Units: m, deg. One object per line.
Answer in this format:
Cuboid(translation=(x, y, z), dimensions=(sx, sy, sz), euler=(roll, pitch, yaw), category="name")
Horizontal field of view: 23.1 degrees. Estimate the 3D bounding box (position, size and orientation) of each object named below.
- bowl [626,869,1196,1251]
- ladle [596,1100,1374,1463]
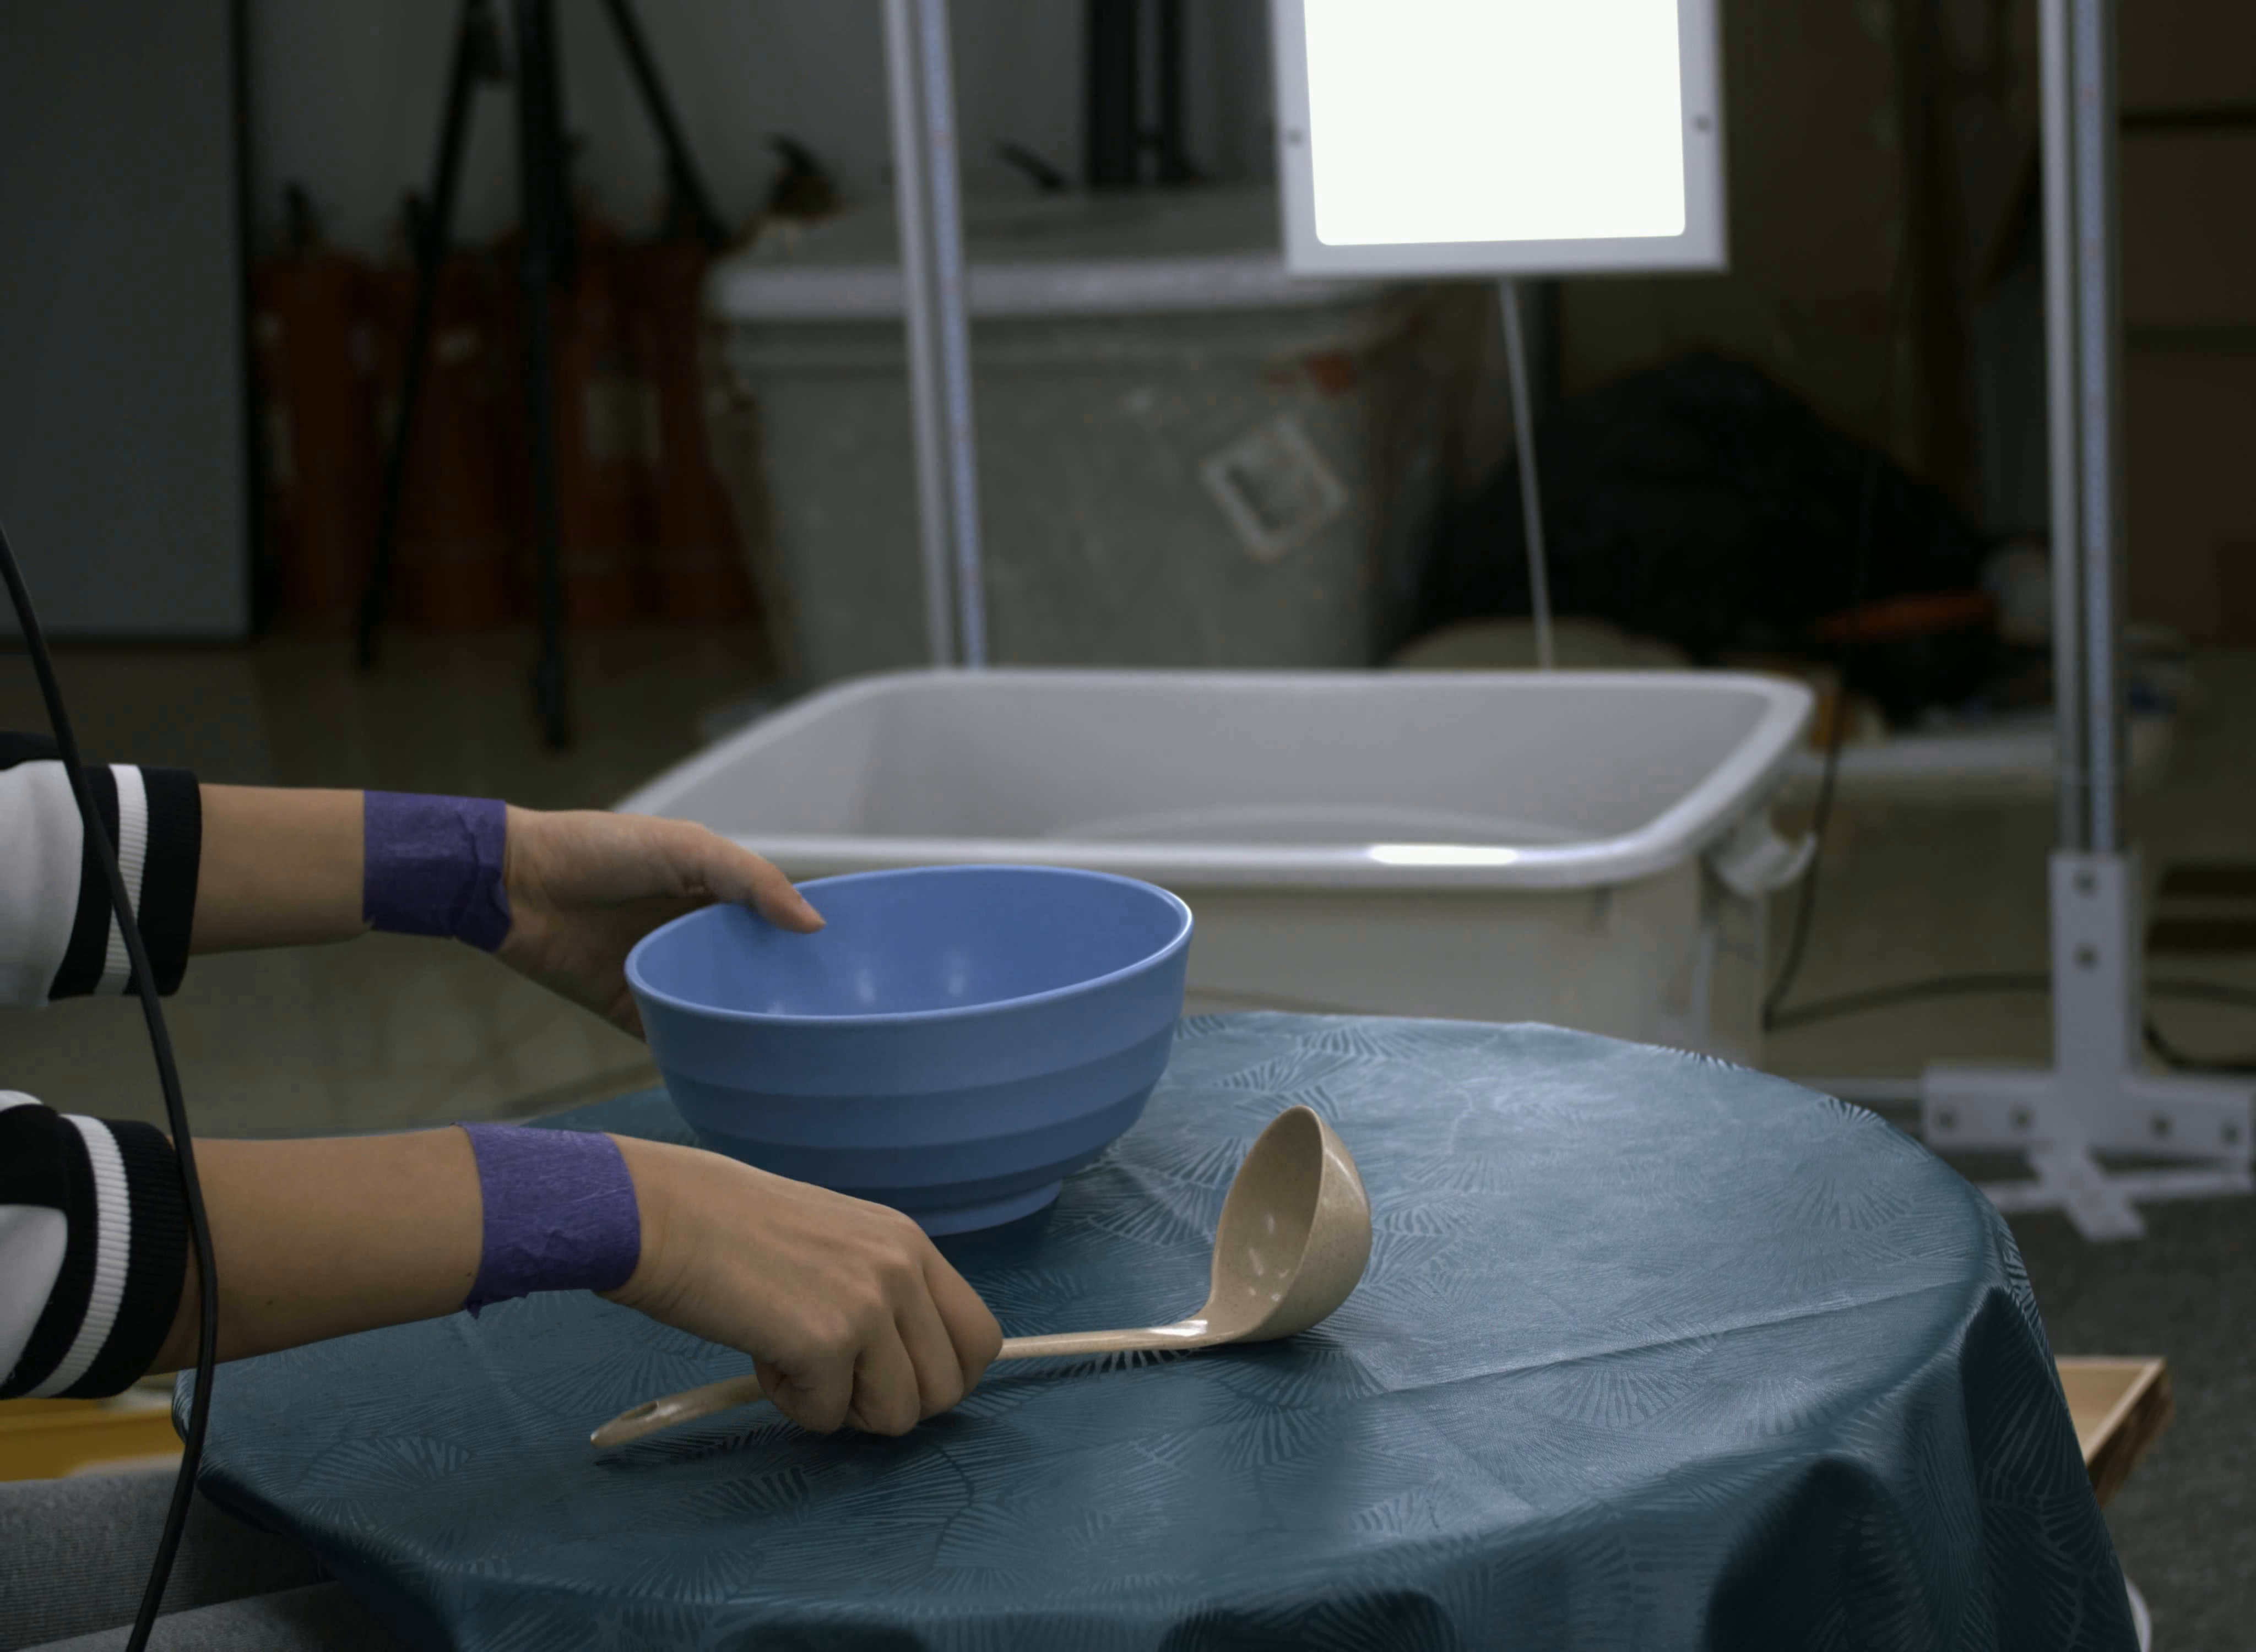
Cuboid(translation=(-0.072, 0.087, 1.901), dimensions=(0.196, 0.096, 0.196), euler=(-4, 15, 0), category="bowl")
Cuboid(translation=(-0.046, 0.139, 1.706), dimensions=(0.250, 0.073, 0.073), euler=(-9, 12, -18), category="ladle")
